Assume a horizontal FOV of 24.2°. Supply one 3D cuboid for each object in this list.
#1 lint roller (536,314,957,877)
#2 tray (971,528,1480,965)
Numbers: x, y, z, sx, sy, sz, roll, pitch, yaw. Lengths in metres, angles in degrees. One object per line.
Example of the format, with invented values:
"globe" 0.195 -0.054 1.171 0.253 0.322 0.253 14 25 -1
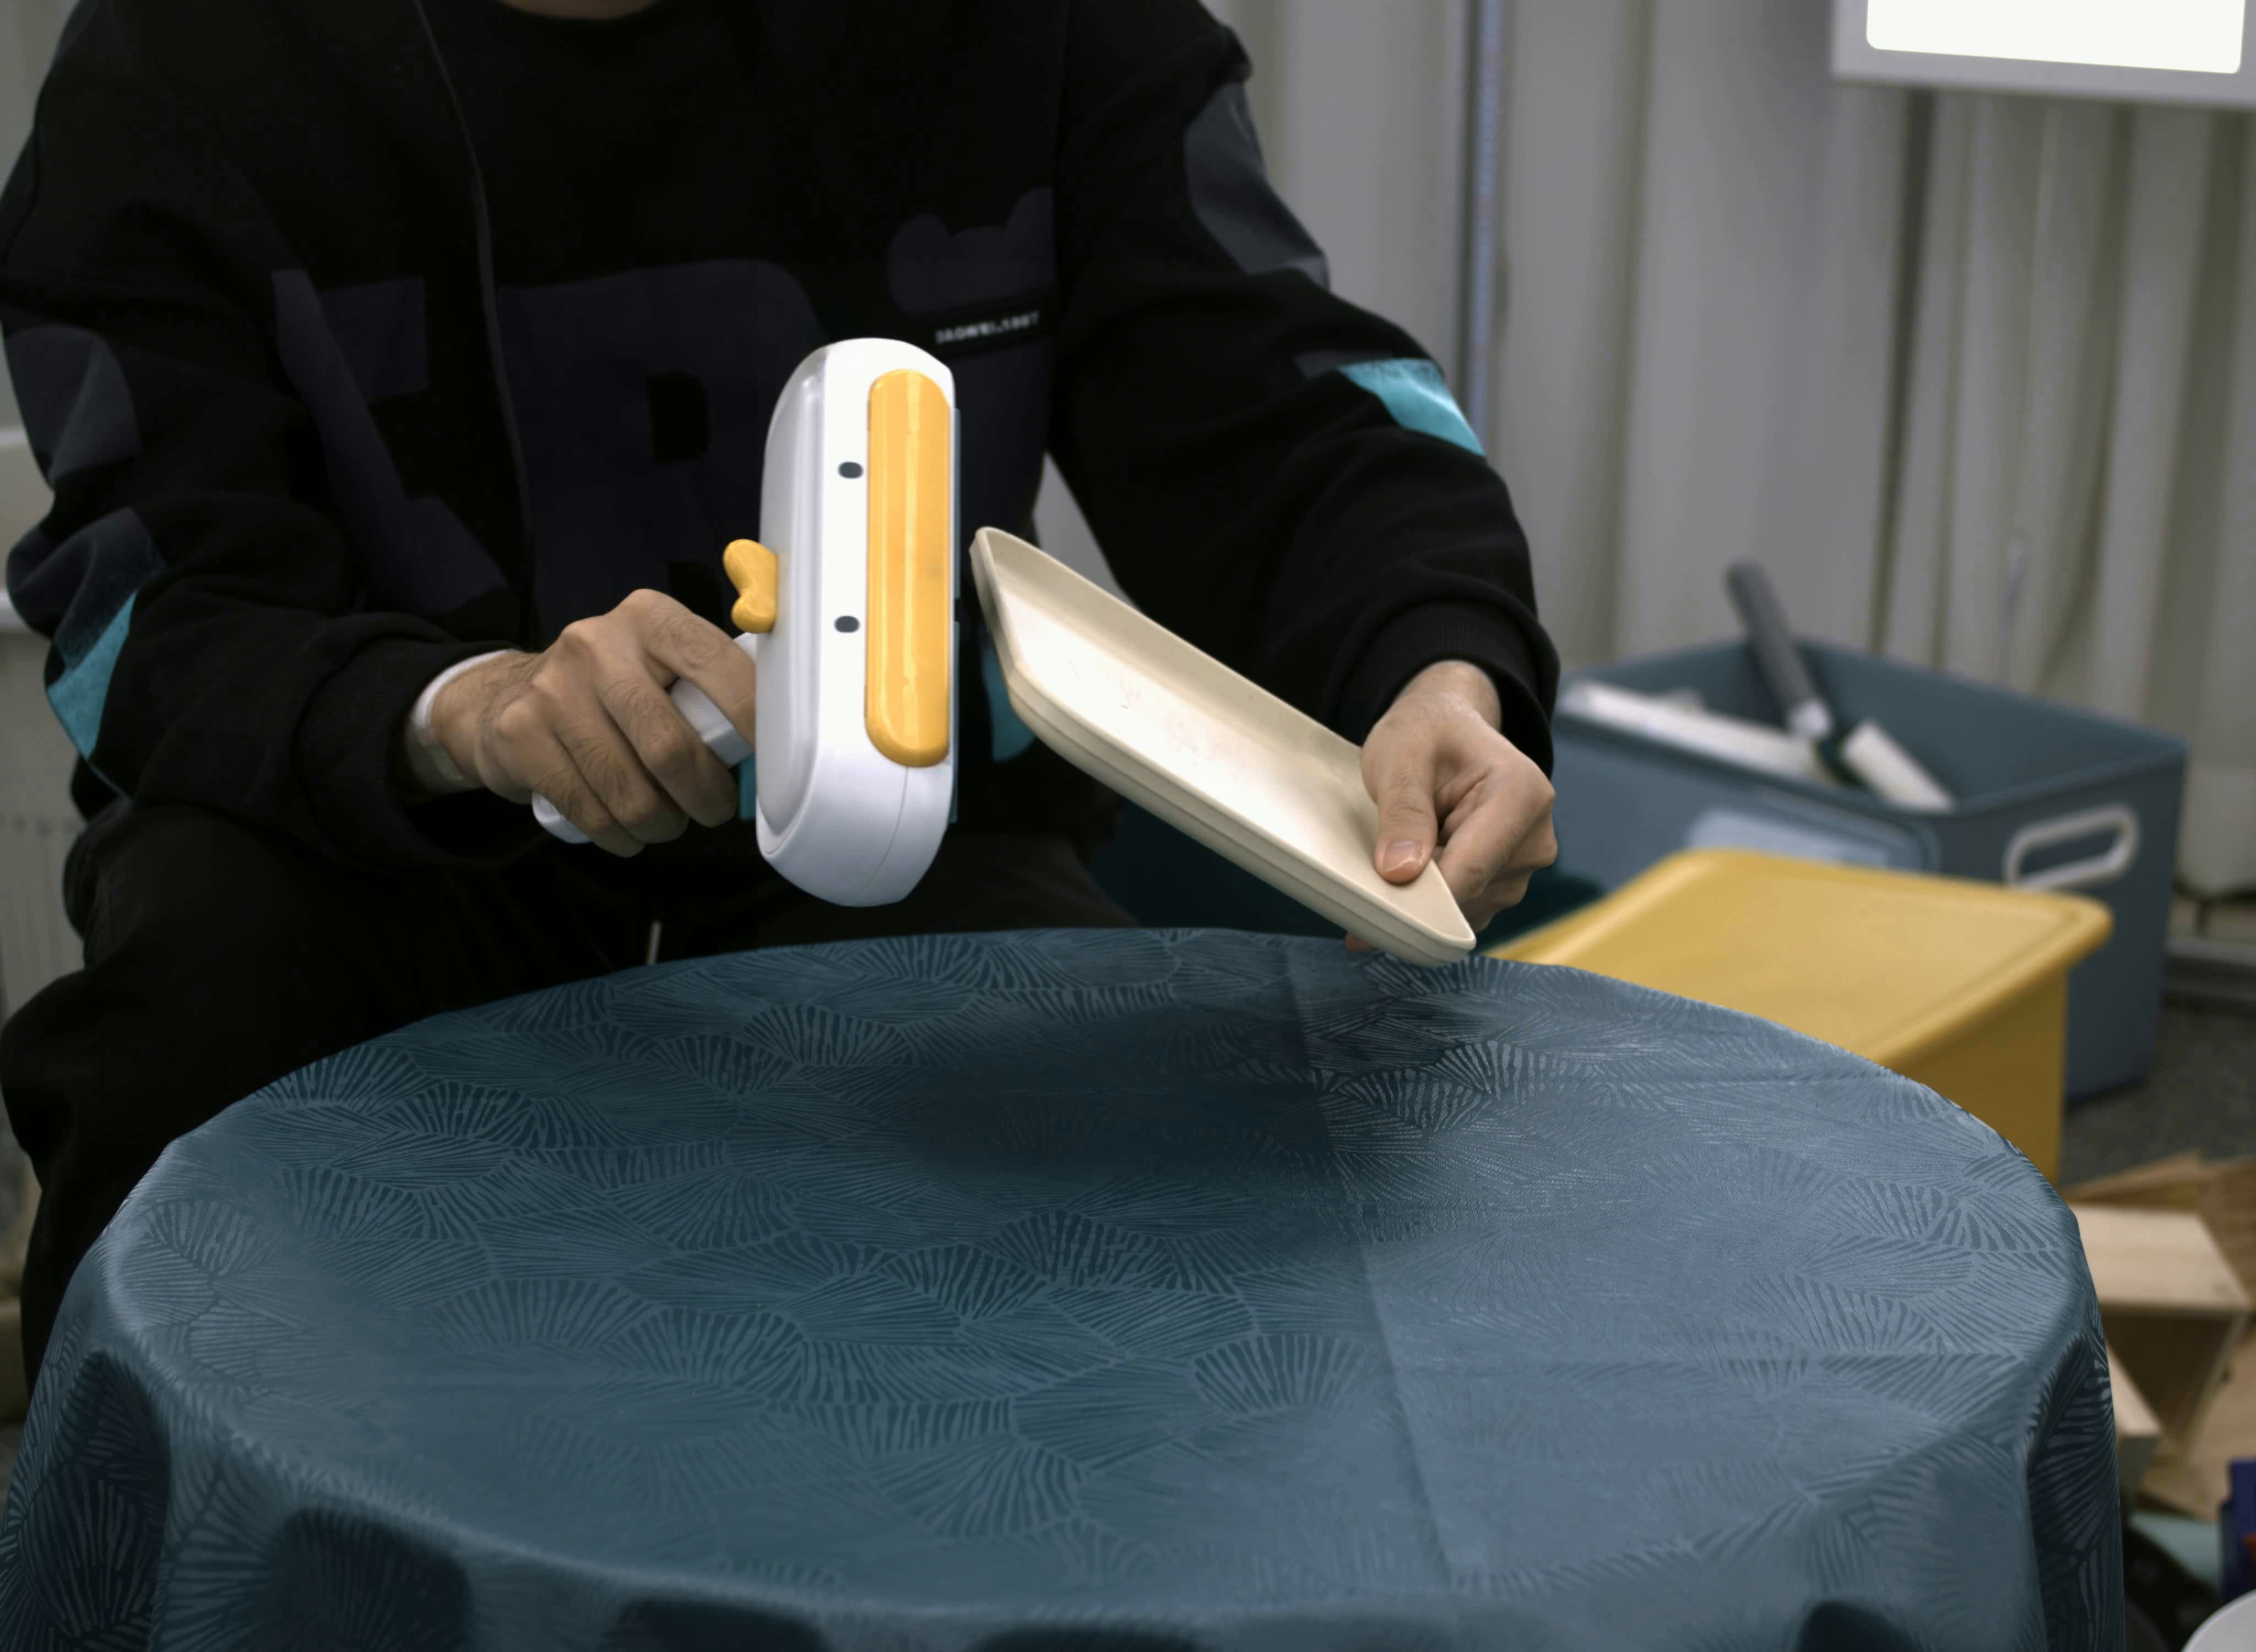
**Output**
"lint roller" -0.122 -0.044 1.671 0.075 0.192 0.191 13 52 -30
"tray" 0.025 -0.026 1.689 0.172 0.017 0.238 32 10 -13
